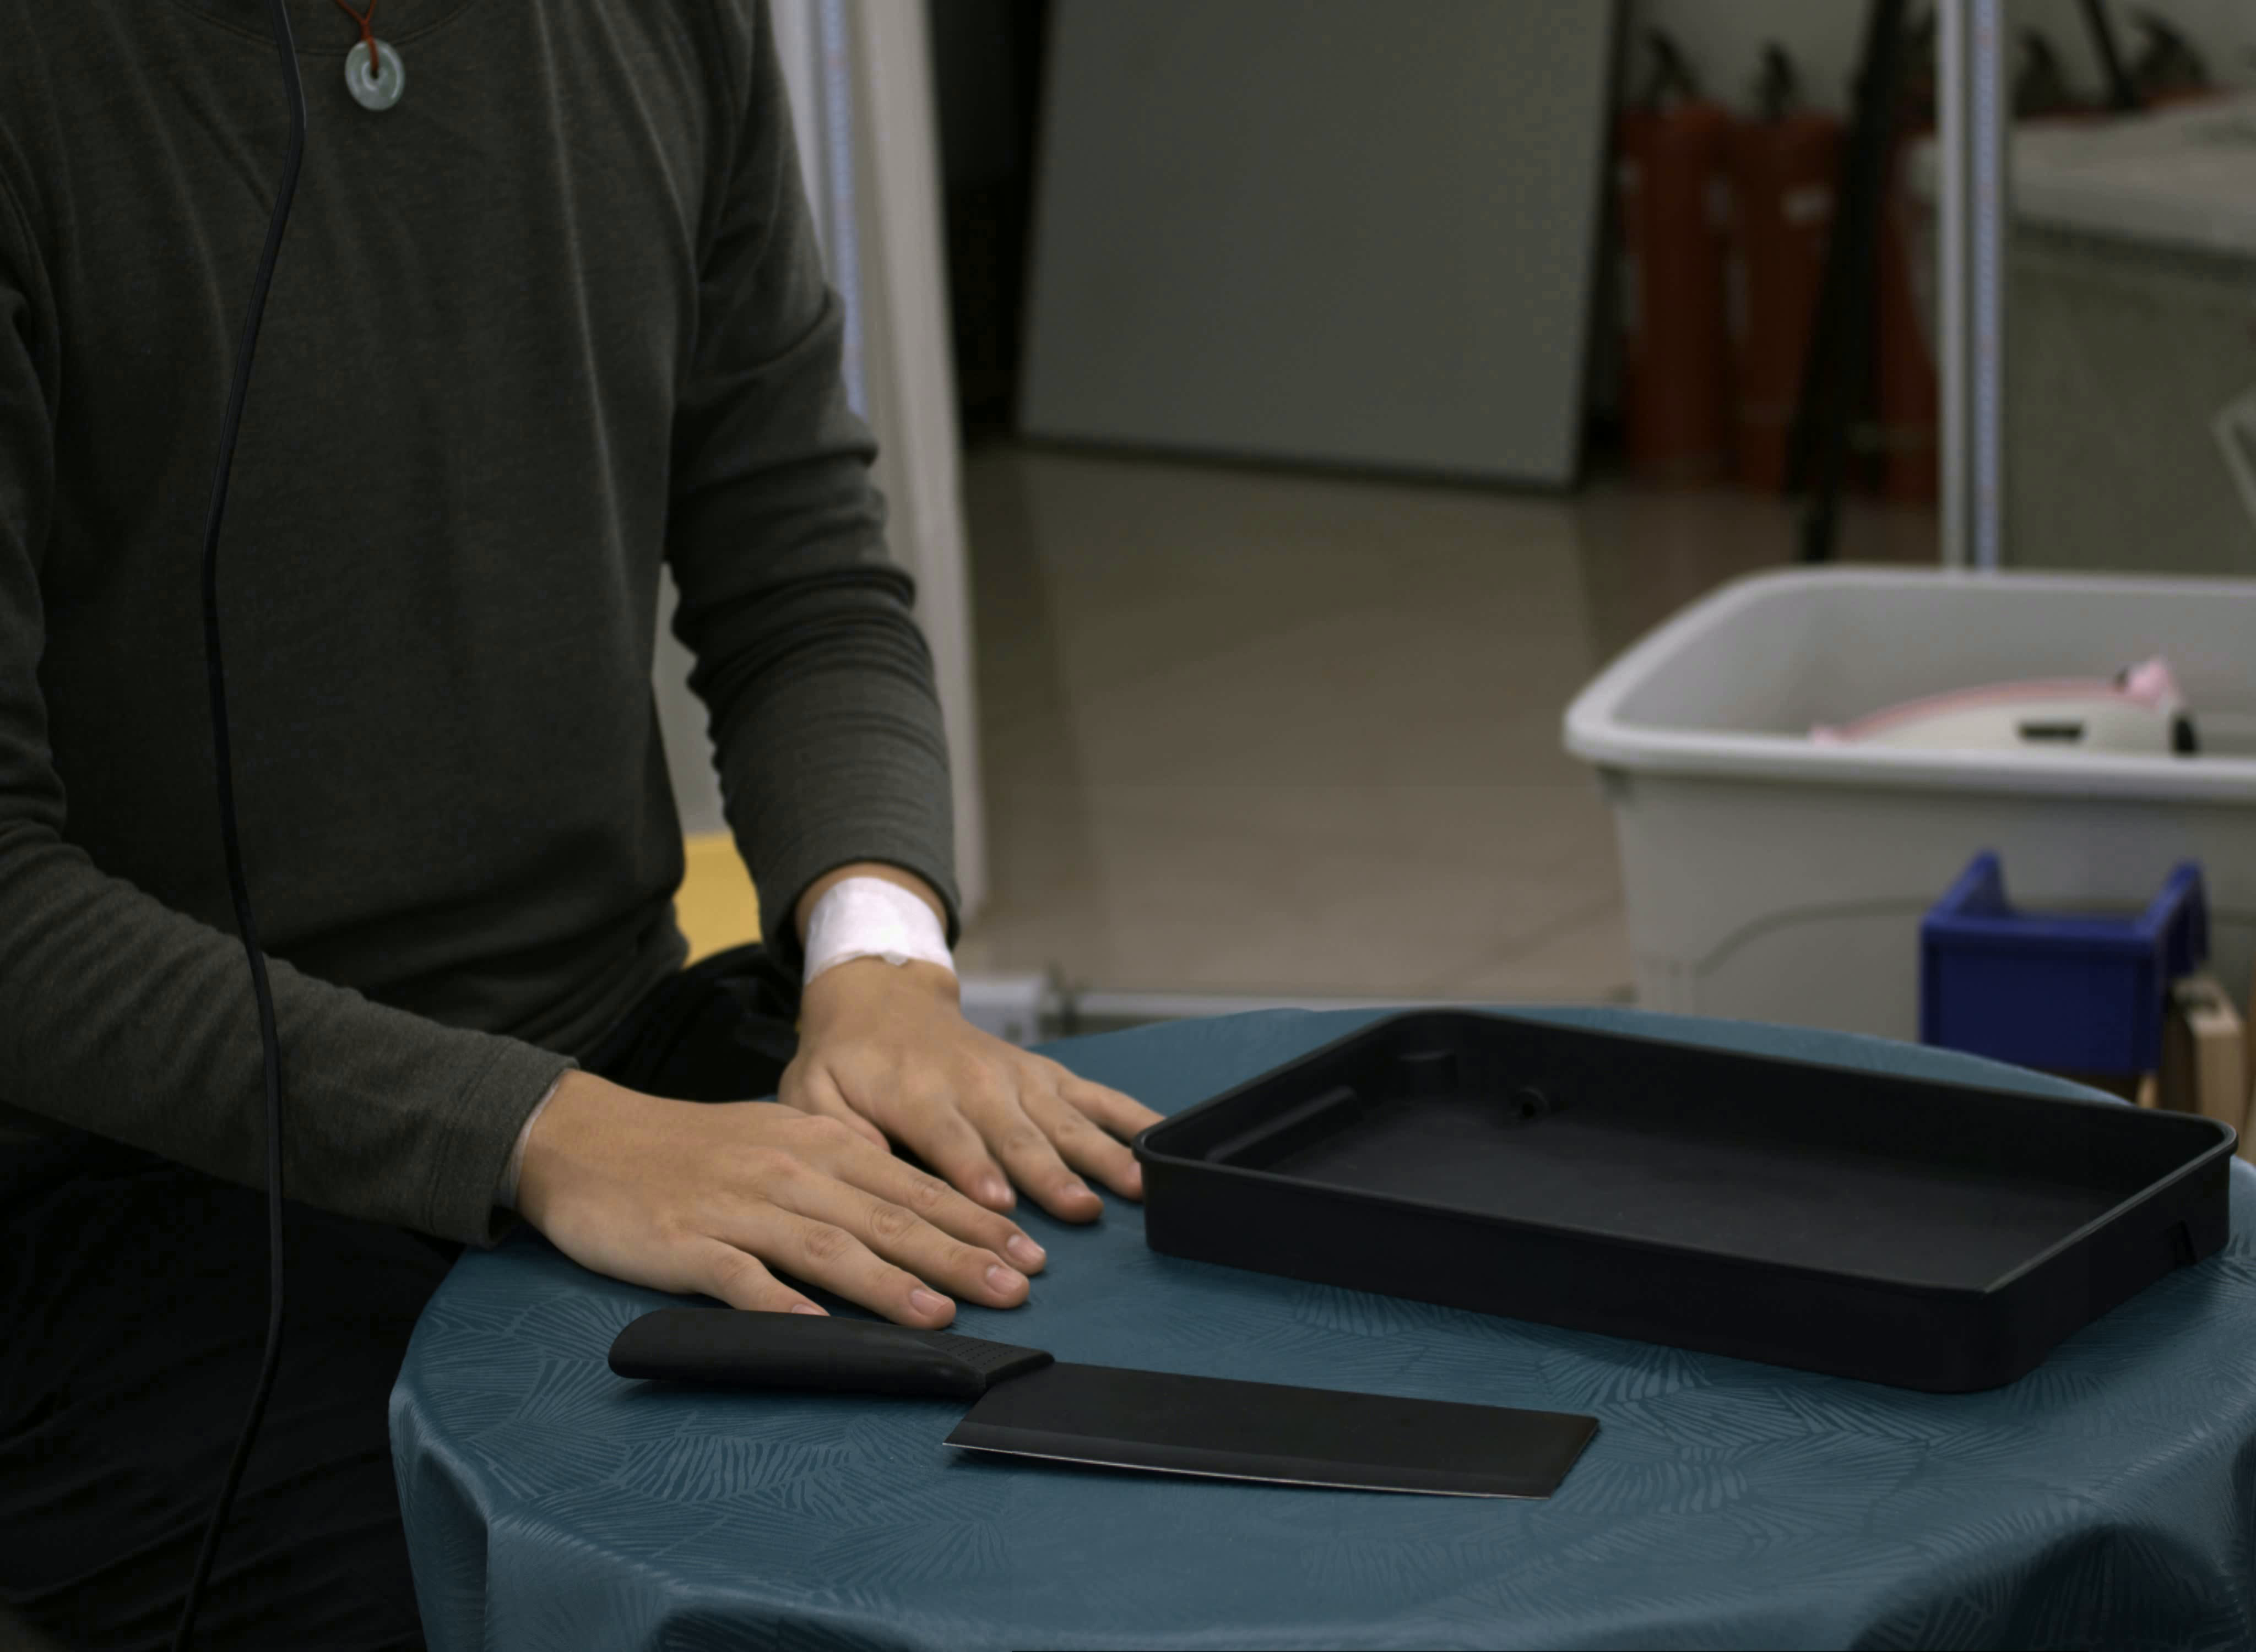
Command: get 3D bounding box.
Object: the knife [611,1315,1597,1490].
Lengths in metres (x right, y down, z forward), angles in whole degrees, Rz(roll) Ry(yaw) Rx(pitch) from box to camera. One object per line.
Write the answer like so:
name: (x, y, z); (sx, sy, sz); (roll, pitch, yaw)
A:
knife: (-0.013, 0.168, 1.558); (0.302, 0.021, 0.080); (4, 17, 25)

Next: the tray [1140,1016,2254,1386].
tray: (0.175, 0.113, 1.681); (0.320, 0.037, 0.181); (5, 16, 36)
